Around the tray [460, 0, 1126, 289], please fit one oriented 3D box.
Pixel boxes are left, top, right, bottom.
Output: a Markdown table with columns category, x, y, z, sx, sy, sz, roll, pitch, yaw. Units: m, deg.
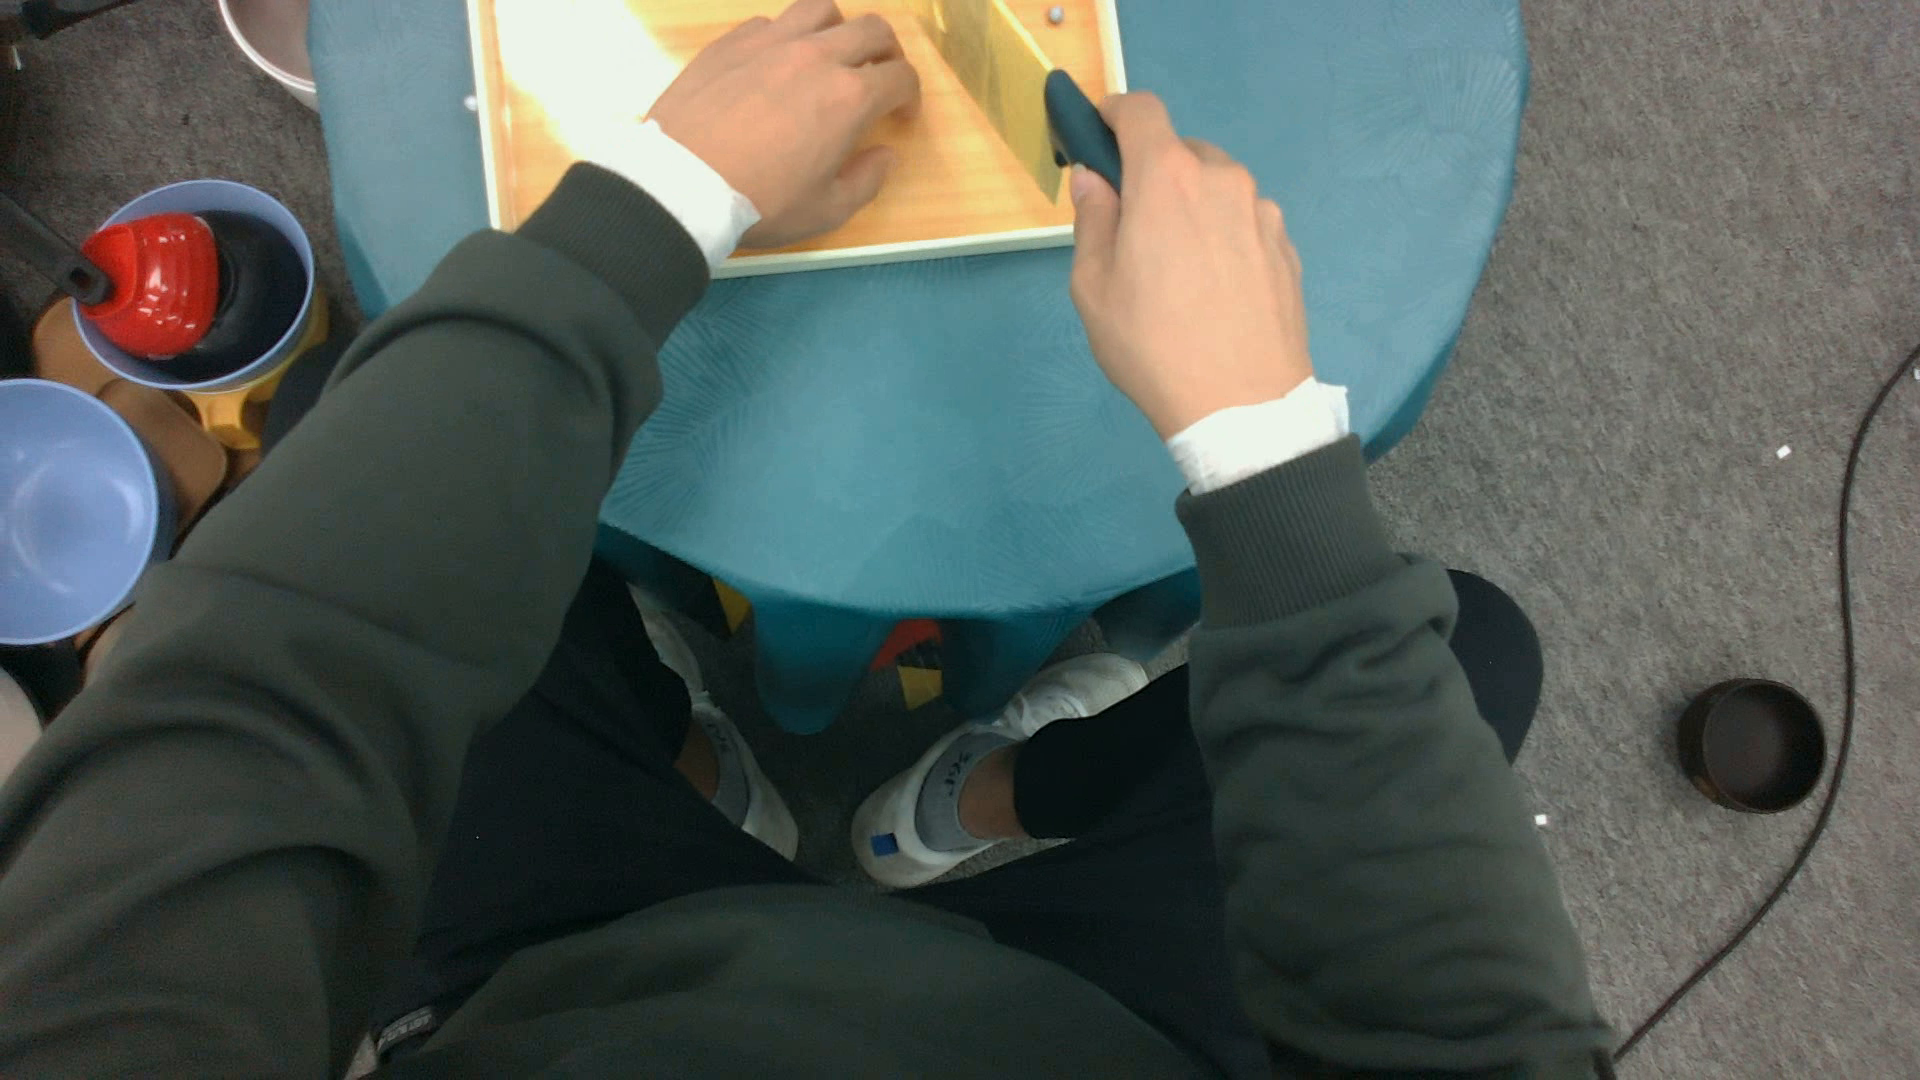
| category | x | y | z | sx | sy | sz | roll | pitch | yaw |
| --- | --- | --- | --- | --- | --- | --- | --- | --- | --- |
| tray | -0.079 | -0.228 | 0.658 | 0.300 | 0.027 | 0.191 | -7 | 86 | -6 |

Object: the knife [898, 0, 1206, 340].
| category | x | y | z | sx | sy | sz | roll | pitch | yaw |
| --- | --- | --- | --- | --- | --- | --- | --- | --- | --- |
| knife | 0.020 | -0.189 | 0.596 | 0.027 | 0.081 | 0.290 | -27 | 65 | -10 |
